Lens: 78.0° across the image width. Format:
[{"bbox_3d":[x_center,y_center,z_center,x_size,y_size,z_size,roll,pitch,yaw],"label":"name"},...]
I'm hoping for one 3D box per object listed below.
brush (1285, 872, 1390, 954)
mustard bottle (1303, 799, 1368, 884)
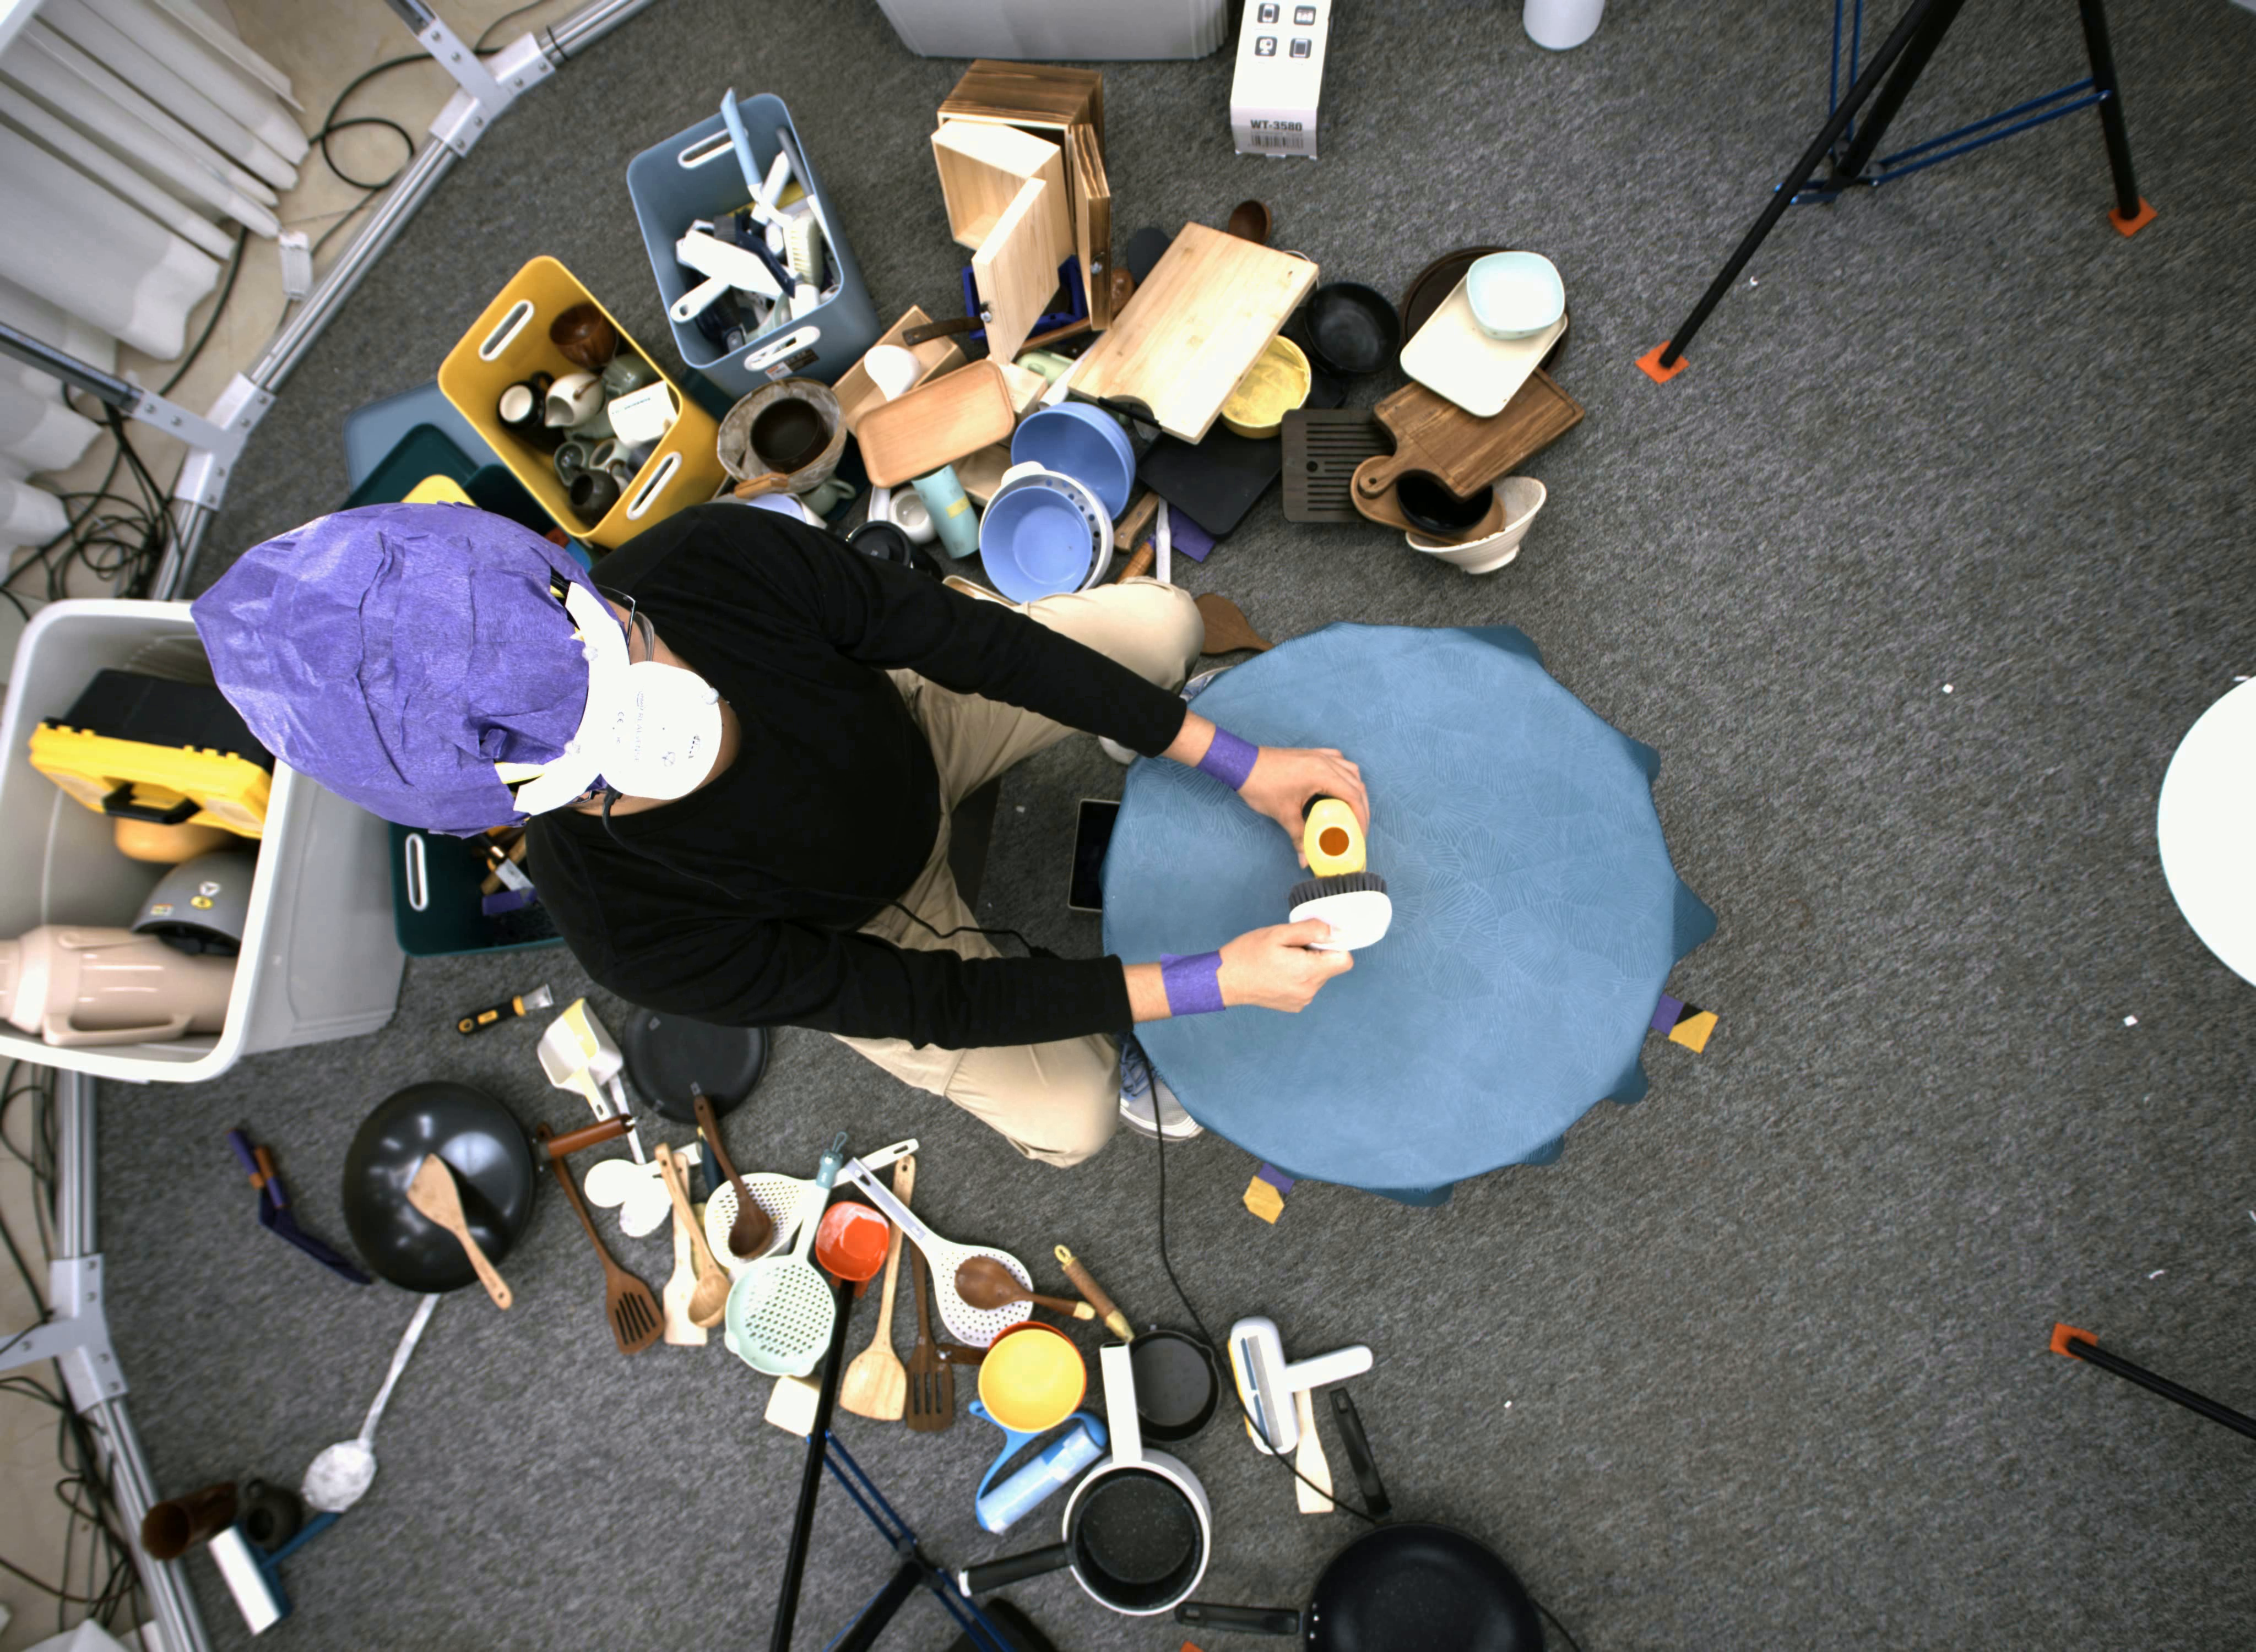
[{"bbox_3d":[0.201,0.089,1.315,0.099,0.051,0.070,-10,42,8],"label":"brush"},{"bbox_3d":[0.209,0.024,1.387,0.059,0.172,0.098,-10,84,11],"label":"mustard bottle"}]
